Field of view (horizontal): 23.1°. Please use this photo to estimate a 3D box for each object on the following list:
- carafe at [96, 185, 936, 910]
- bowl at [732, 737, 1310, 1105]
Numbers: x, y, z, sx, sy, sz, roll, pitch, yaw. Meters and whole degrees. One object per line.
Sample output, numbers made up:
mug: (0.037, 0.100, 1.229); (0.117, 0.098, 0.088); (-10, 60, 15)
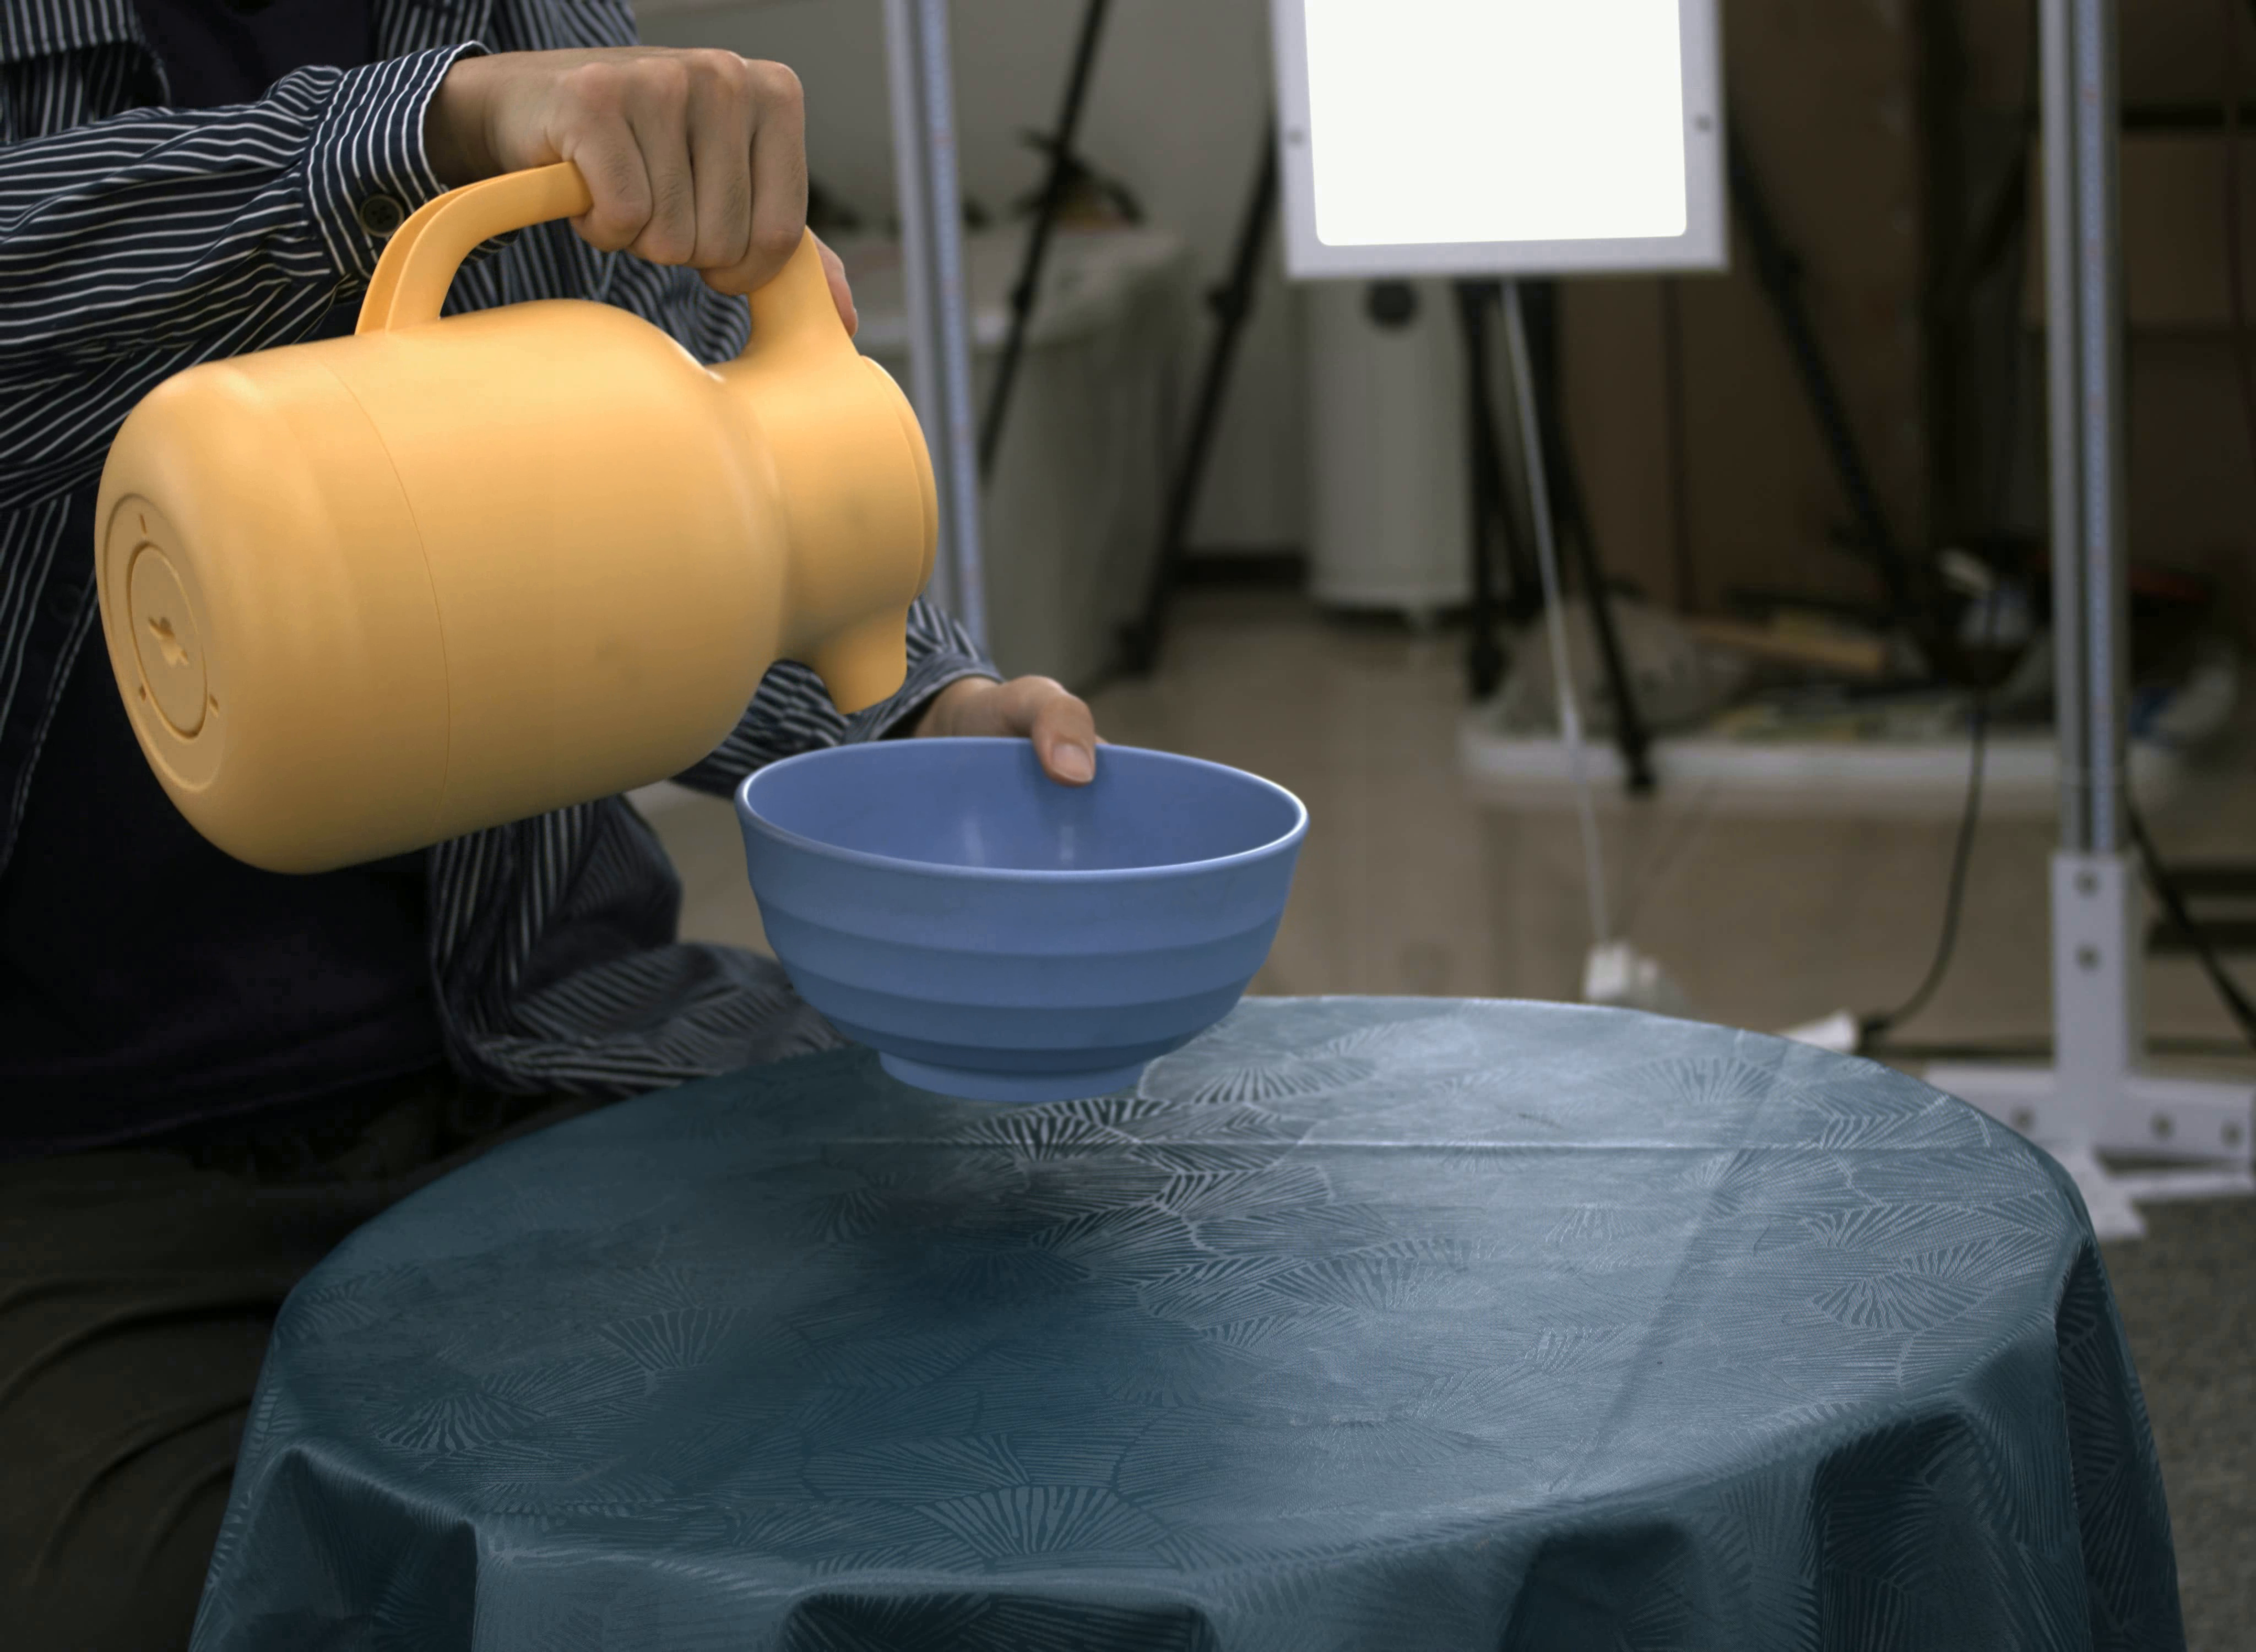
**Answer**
carafe: (-0.195, -0.095, 1.770); (0.255, 0.203, 0.166); (-15, 9, -26)
bowl: (-0.038, 0.037, 1.874); (0.196, 0.096, 0.196); (1, 14, -2)
